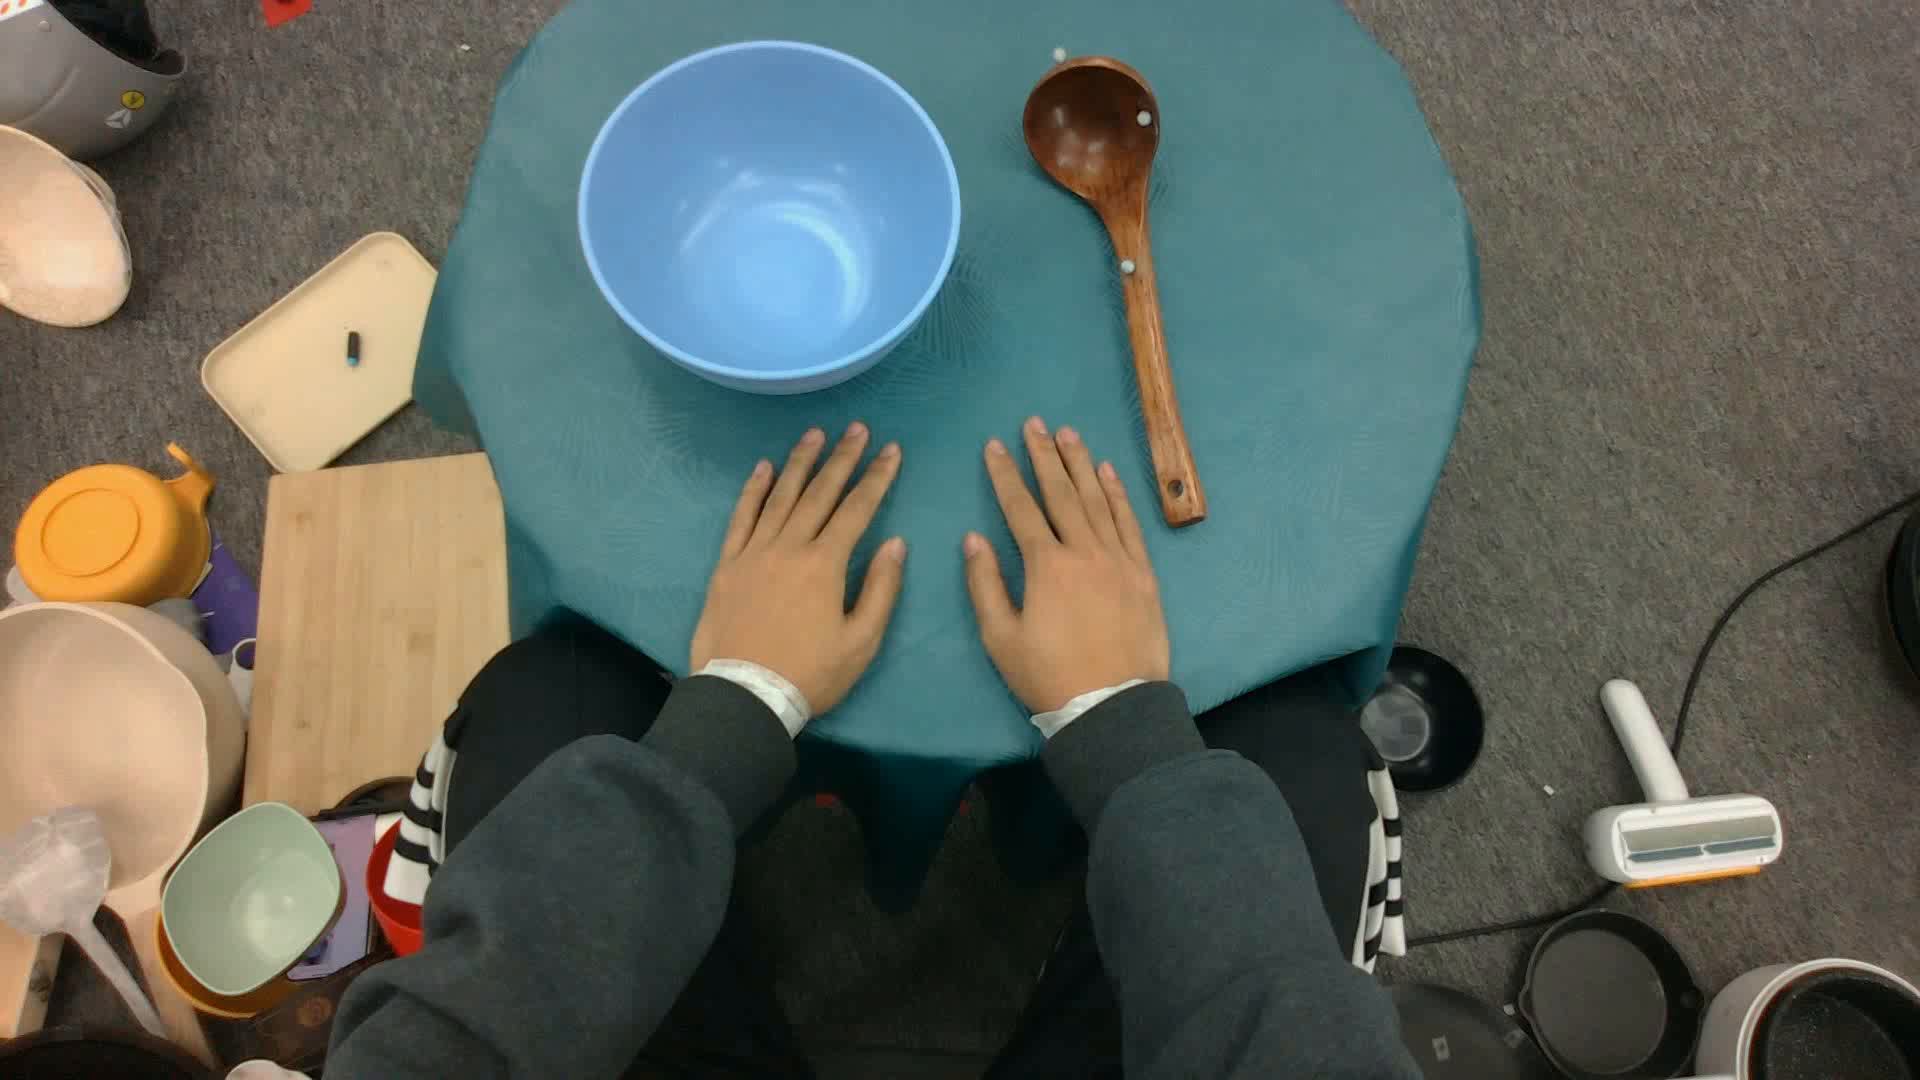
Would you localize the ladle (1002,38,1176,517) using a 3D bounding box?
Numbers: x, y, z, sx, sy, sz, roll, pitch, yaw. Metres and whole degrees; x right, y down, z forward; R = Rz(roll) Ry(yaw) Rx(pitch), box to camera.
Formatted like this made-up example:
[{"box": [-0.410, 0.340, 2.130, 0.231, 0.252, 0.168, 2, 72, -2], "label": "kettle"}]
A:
[{"box": [0.079, -0.151, 0.774, 0.081, 0.077, 0.274, -17, 72, 33], "label": "ladle"}]

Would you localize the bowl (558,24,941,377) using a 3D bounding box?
[{"box": [-0.111, -0.170, 0.755, 0.196, 0.095, 0.197, 1, 74, -4], "label": "bowl"}]
